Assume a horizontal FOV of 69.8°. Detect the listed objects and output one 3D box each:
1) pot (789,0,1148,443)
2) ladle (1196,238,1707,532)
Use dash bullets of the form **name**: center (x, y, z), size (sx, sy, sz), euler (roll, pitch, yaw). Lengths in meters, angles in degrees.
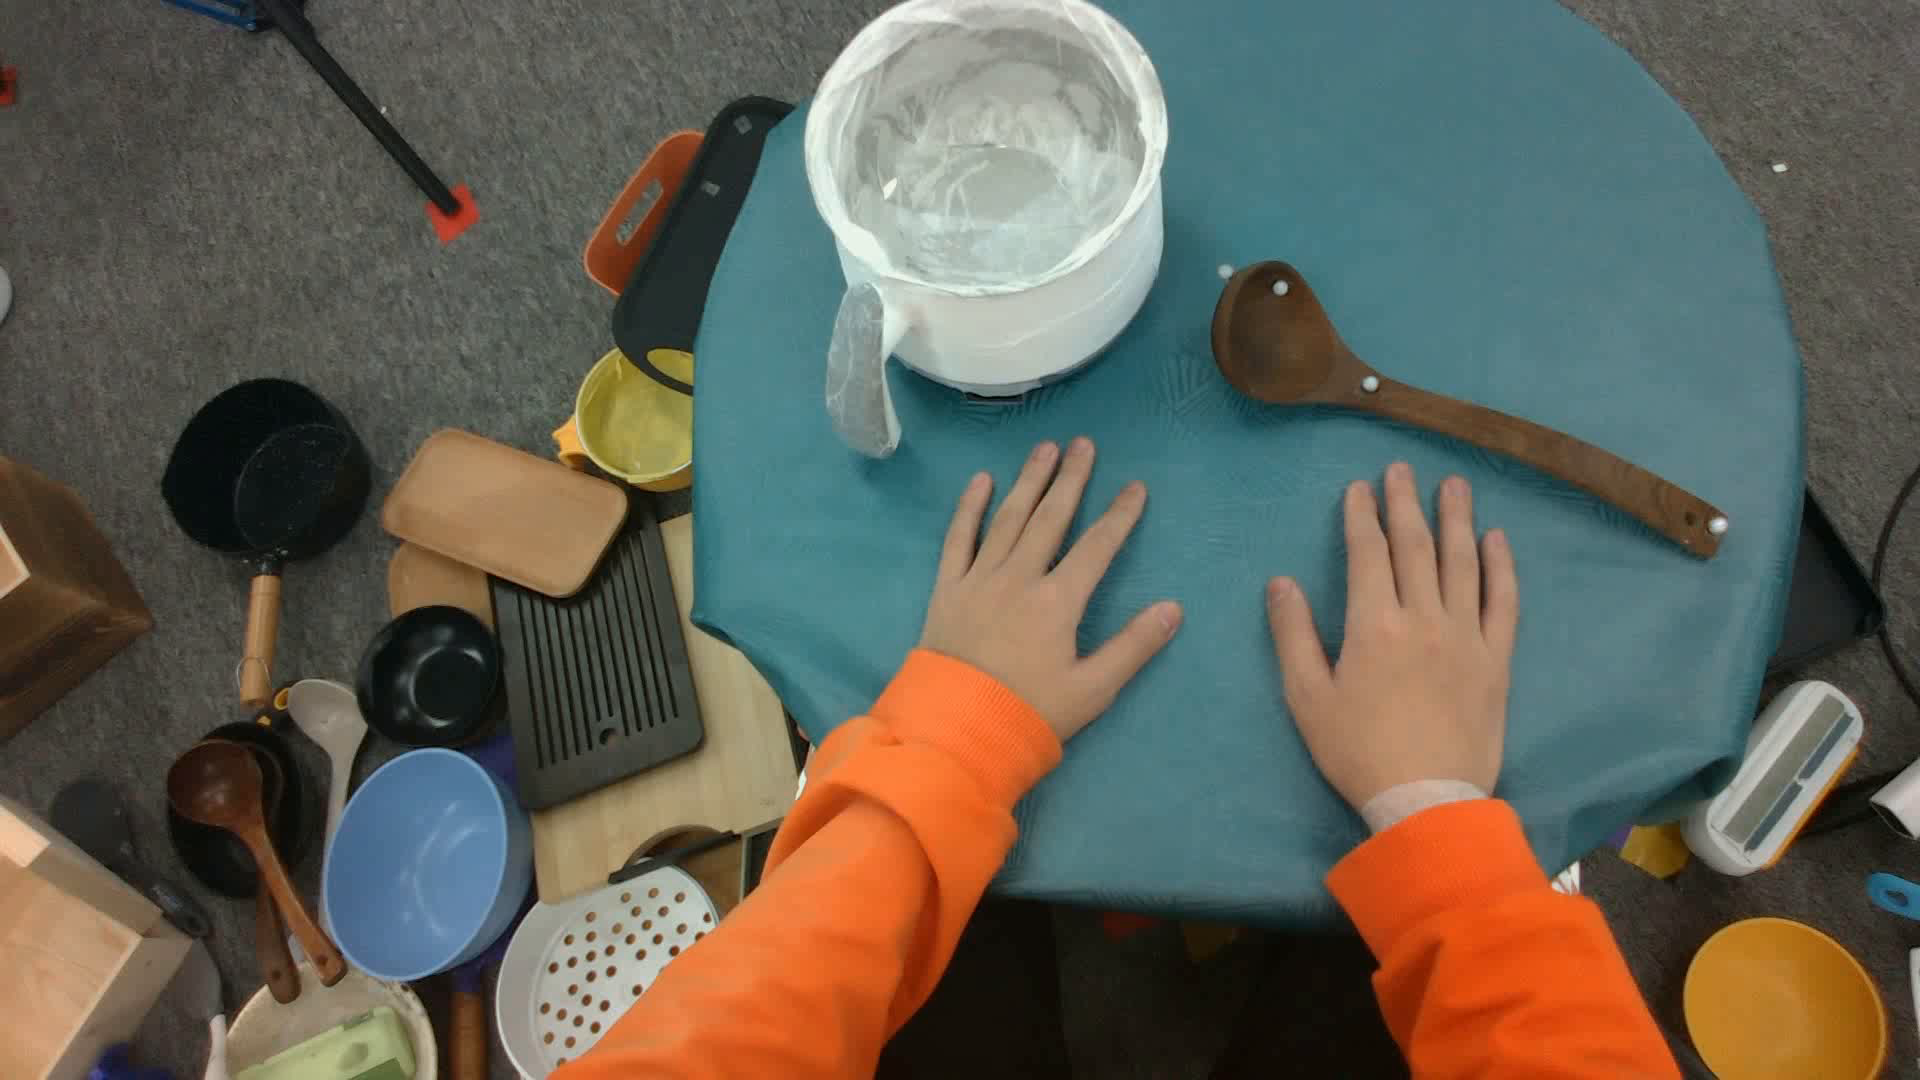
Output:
- **pot**: center (-0.004, -0.163, 0.723), size (0.179, 0.136, 0.234), euler (29, 77, 15)
- **ladle**: center (0.251, -0.076, 0.700), size (0.274, 0.071, 0.076), euler (25, 79, 14)
